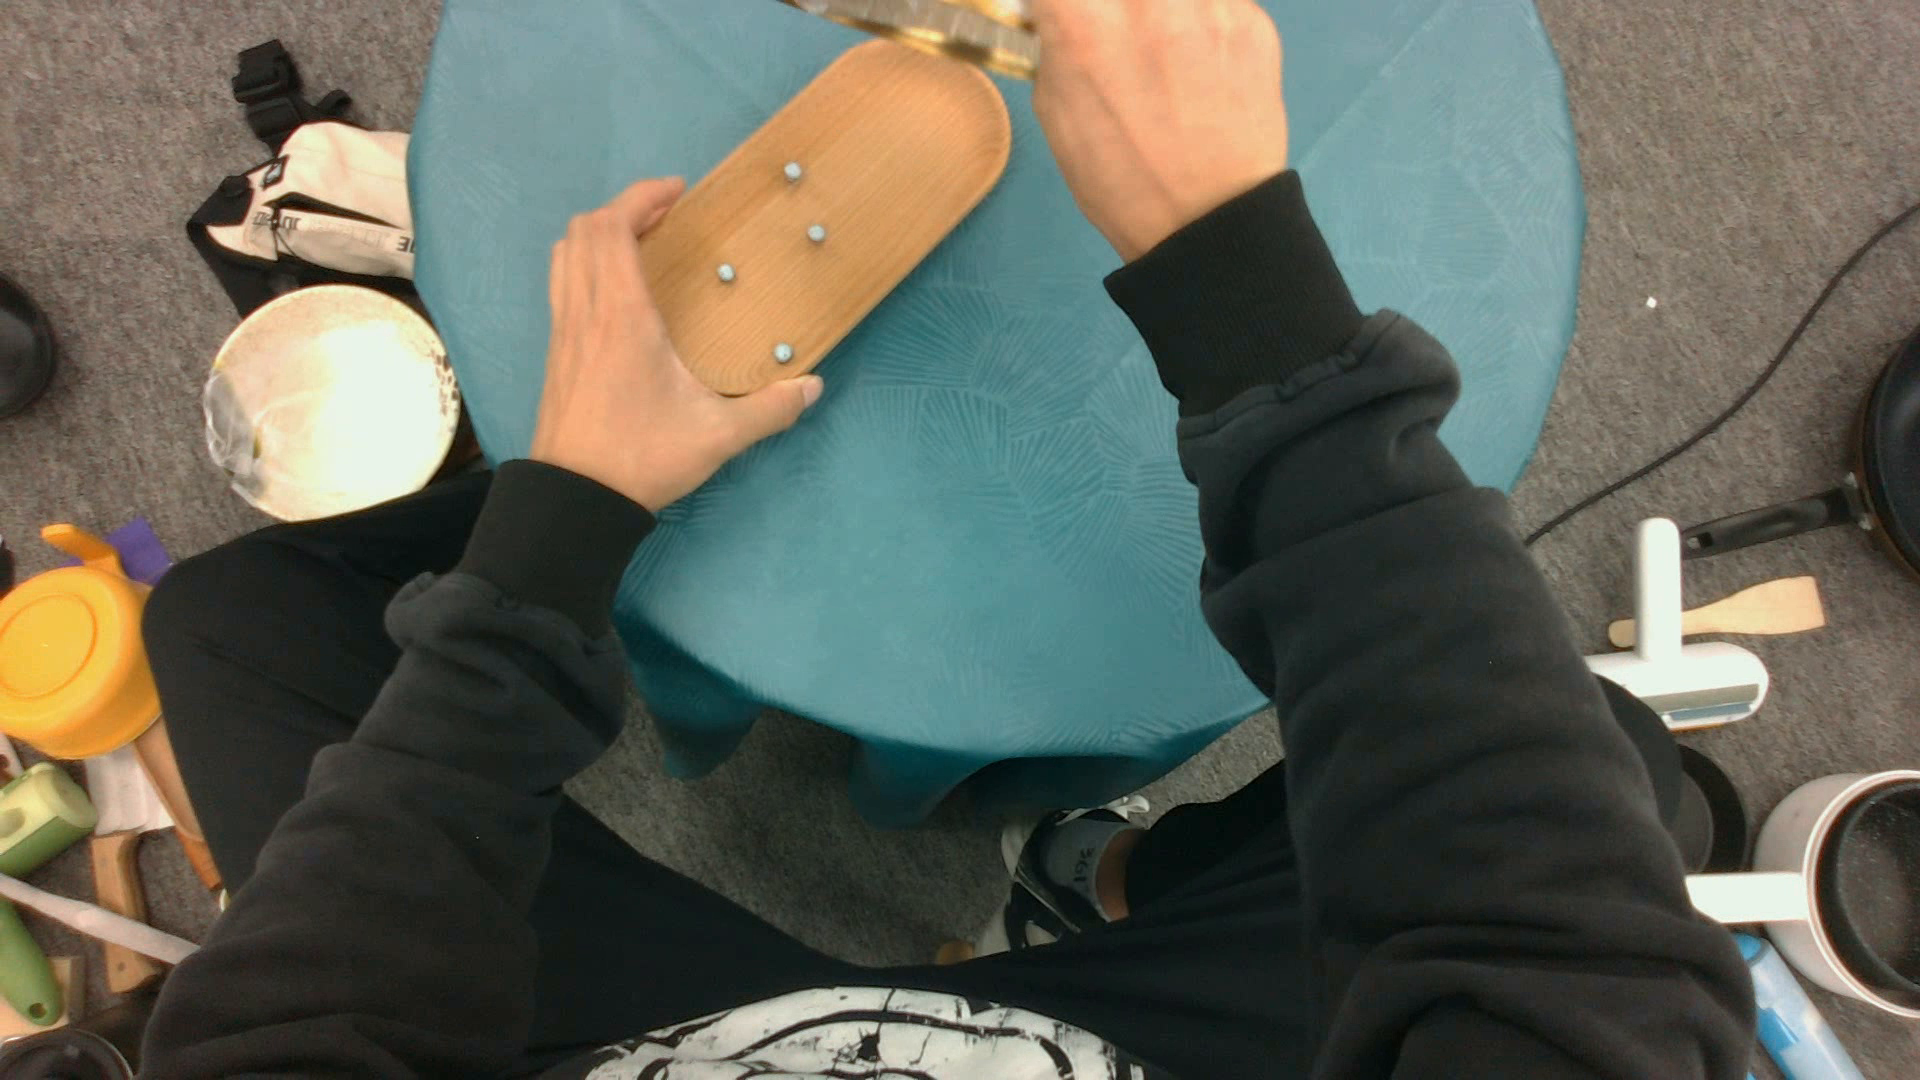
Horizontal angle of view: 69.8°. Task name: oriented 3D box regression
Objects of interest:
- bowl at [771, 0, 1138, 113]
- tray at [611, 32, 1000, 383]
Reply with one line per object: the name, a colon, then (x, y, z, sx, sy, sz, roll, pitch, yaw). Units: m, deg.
bowl: (-0.016, -0.249, 0.525, 0.215, 0.215, 0.094, 21, 95, -1)
tray: (-0.071, -0.167, 0.669, 0.101, 0.020, 0.232, 40, 69, 2)
